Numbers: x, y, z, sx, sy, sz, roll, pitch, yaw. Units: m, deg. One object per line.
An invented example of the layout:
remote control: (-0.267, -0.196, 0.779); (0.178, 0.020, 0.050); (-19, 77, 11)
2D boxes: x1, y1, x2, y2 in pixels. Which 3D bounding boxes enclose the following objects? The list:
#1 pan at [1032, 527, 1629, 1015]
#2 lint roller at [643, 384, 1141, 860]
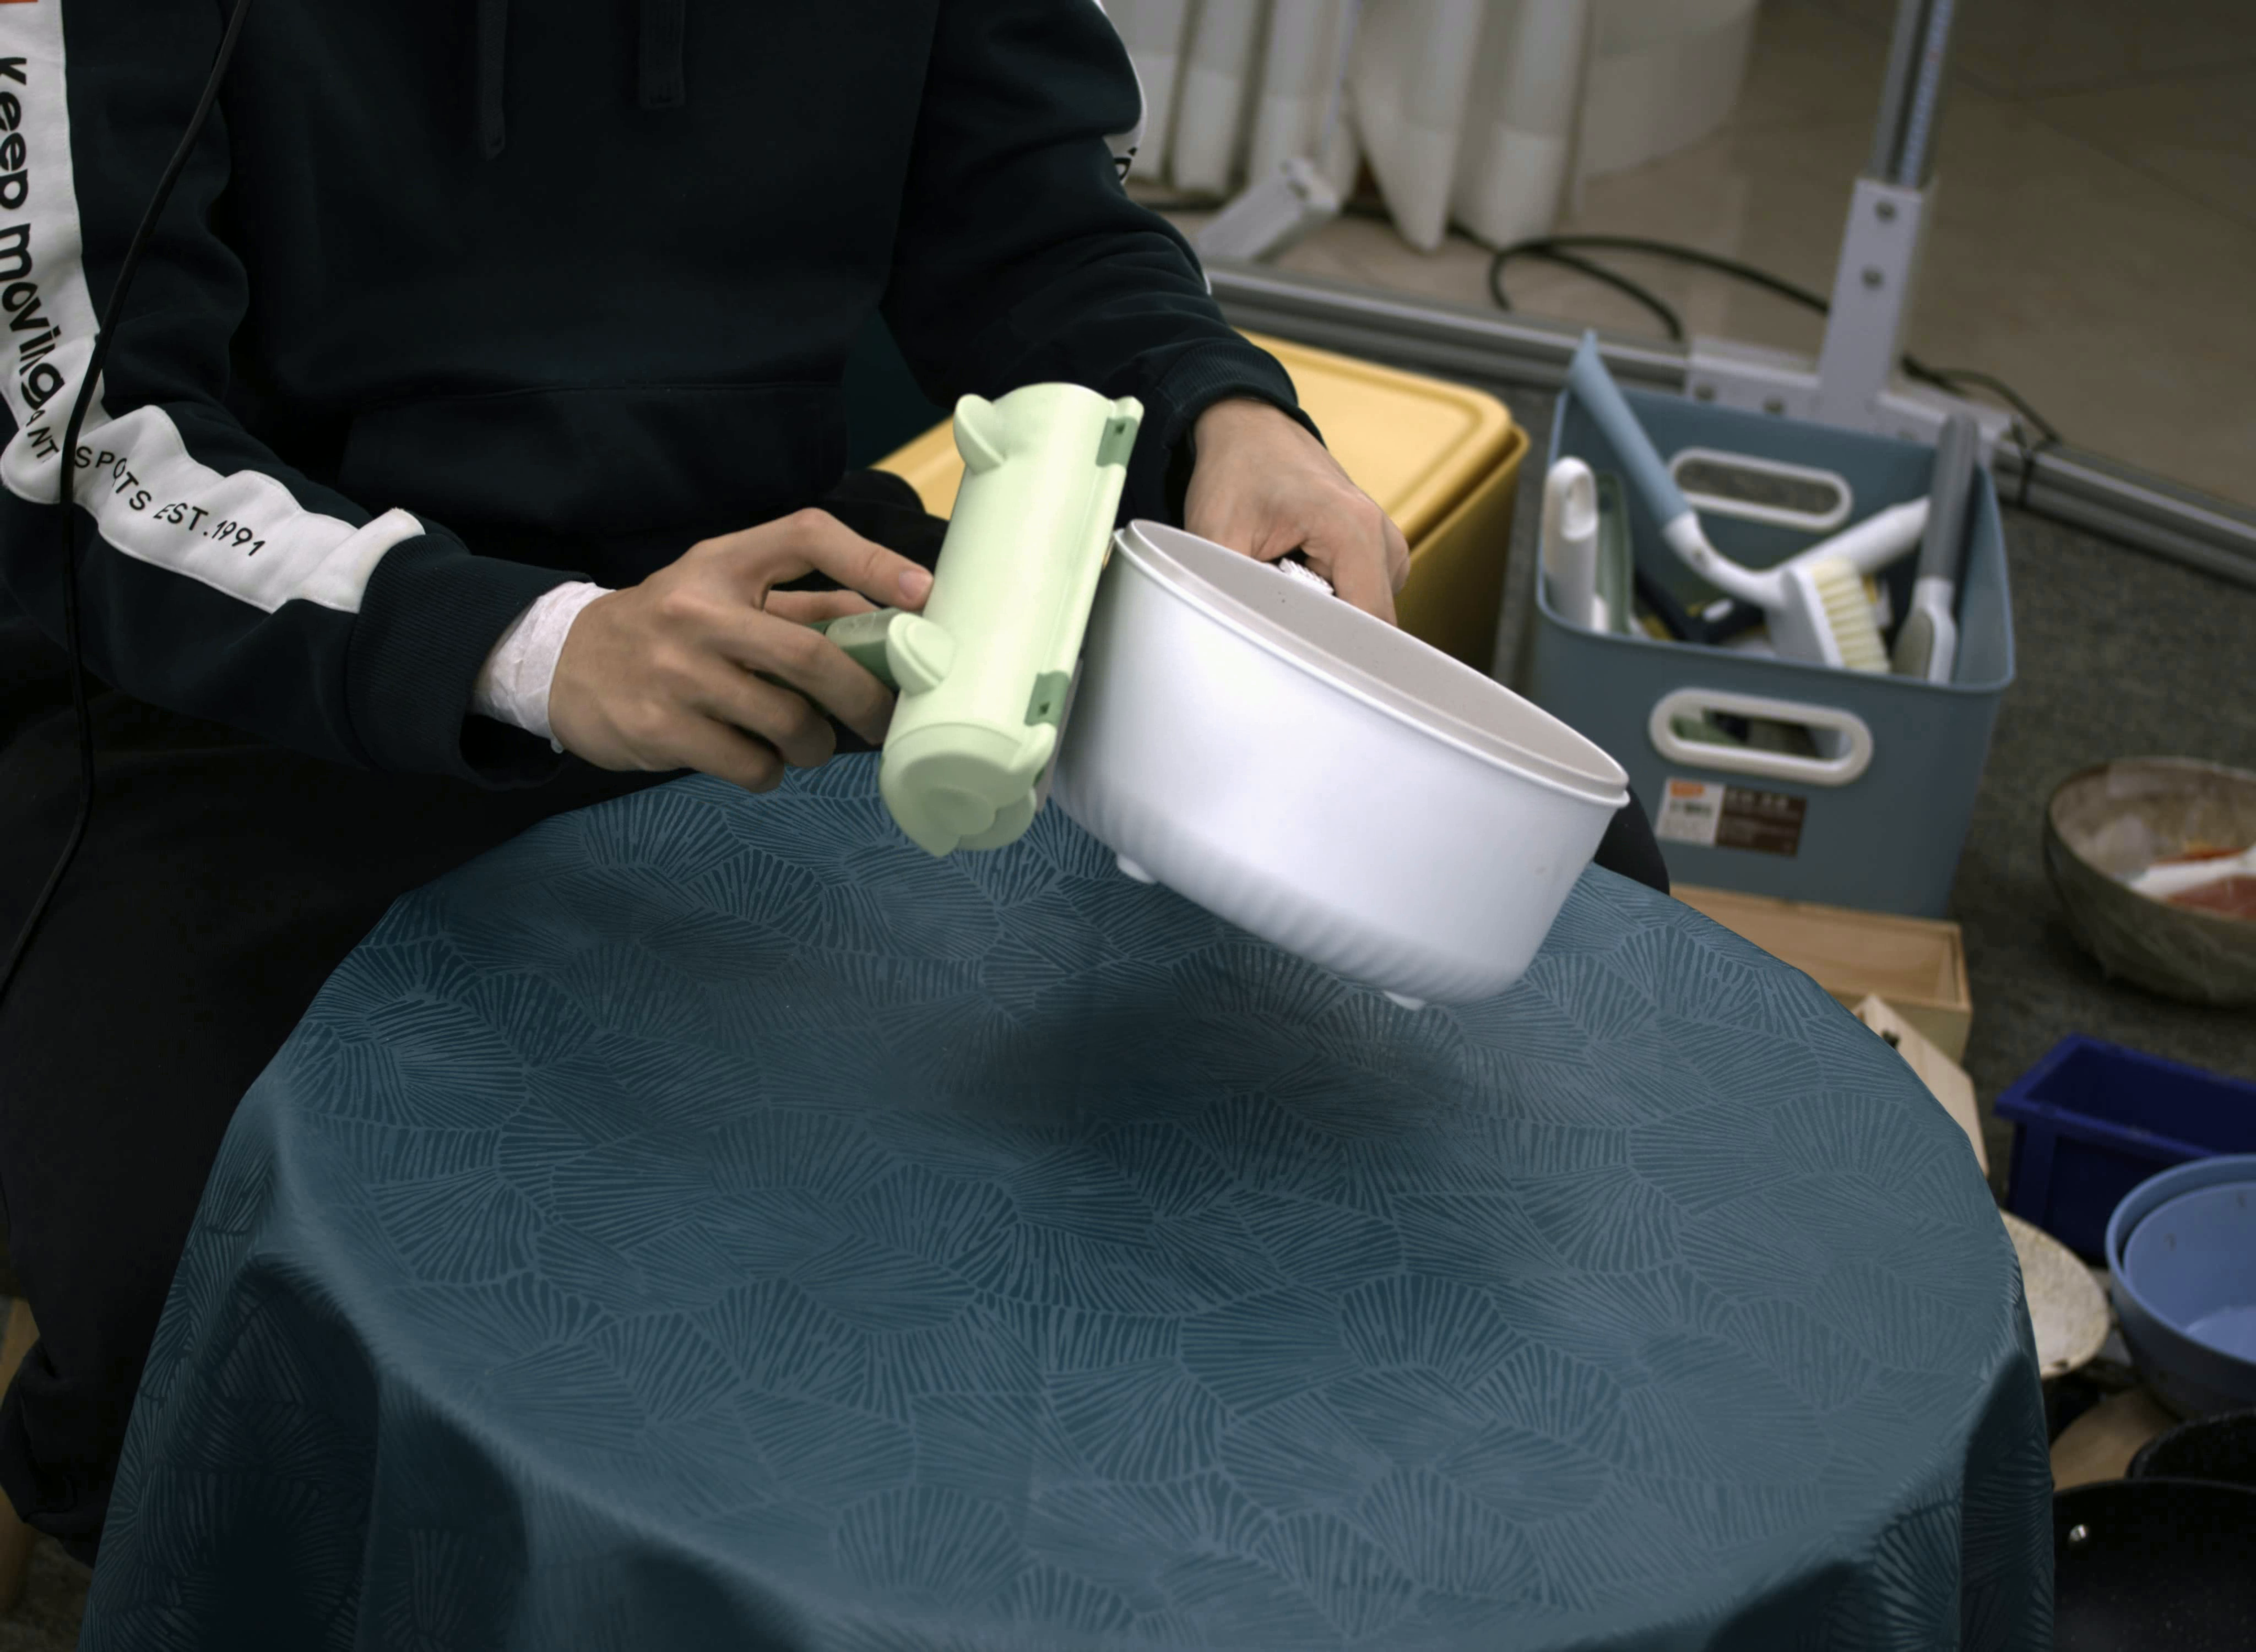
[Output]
pan: (0.056, -0.030, 1.919); (0.200, 0.102, 0.356); (25, 8, -10)
lint roller: (-0.094, -0.069, 1.809); (0.183, 0.081, 0.200); (-9, 39, 21)
